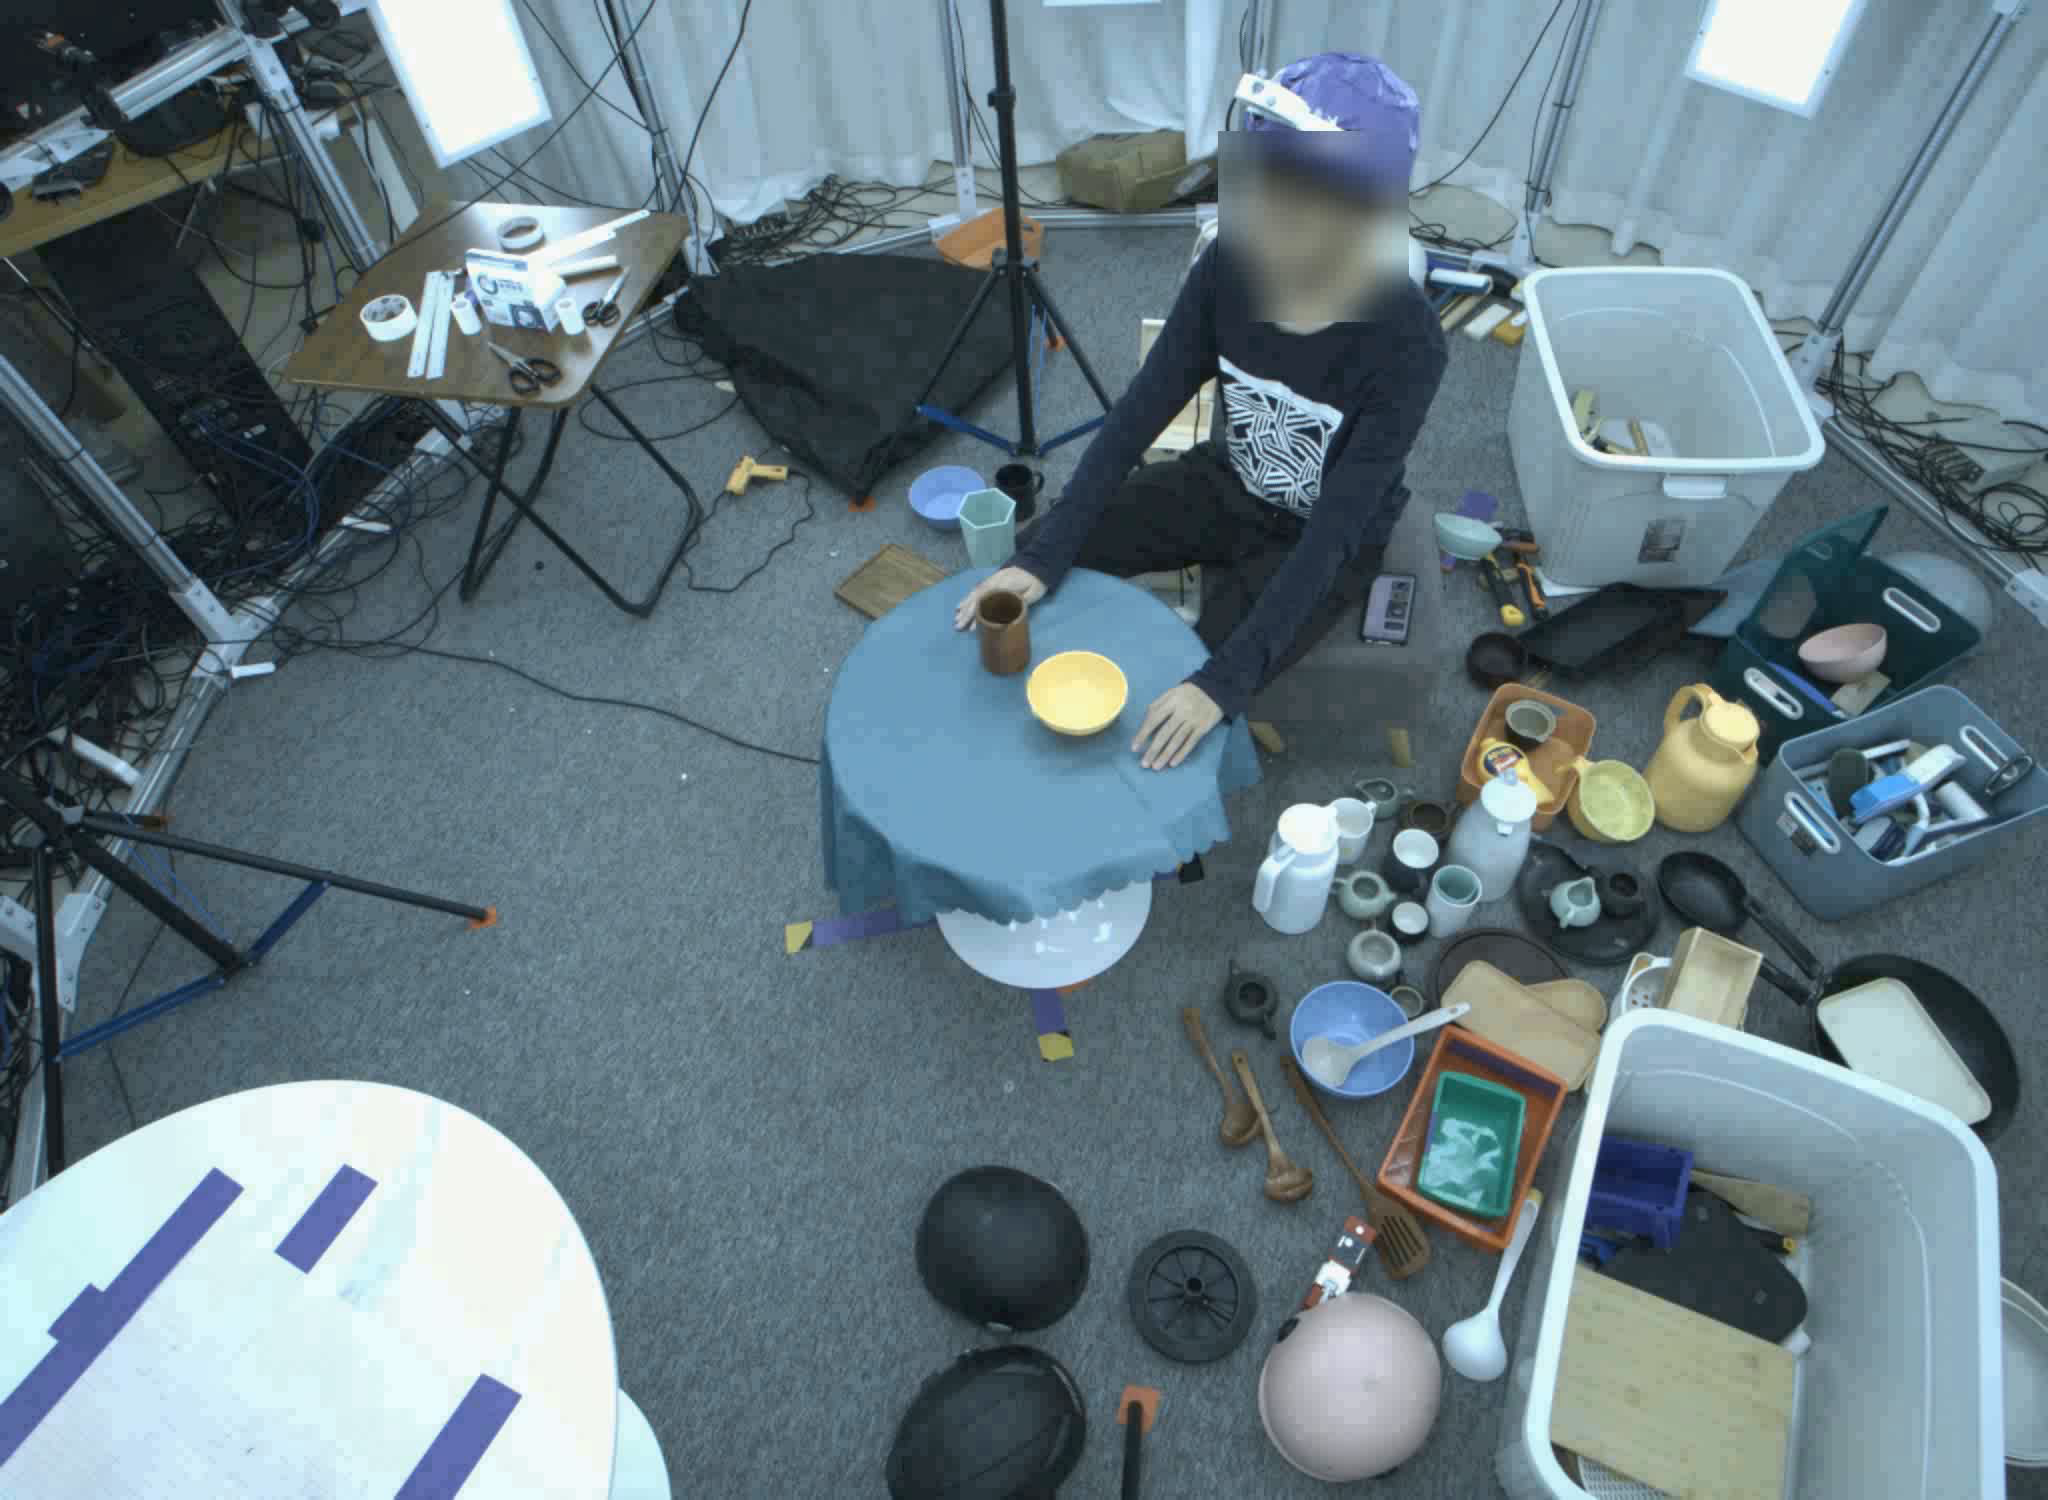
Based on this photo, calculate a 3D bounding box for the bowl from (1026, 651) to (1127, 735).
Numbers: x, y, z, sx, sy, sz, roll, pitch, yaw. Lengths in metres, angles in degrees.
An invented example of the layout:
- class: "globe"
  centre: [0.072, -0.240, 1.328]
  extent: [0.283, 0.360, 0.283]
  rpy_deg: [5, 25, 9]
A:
- class: "bowl"
  centre: [0.076, -0.072, 1.793]
  extent: [0.145, 0.061, 0.144]
  rpy_deg: [0, 54, 1]

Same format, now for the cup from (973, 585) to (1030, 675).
- class: "cup"
  centre: [-0.033, -0.180, 1.837]
  extent: [0.088, 0.119, 0.087]
  rpy_deg: [0, 55, 1]
